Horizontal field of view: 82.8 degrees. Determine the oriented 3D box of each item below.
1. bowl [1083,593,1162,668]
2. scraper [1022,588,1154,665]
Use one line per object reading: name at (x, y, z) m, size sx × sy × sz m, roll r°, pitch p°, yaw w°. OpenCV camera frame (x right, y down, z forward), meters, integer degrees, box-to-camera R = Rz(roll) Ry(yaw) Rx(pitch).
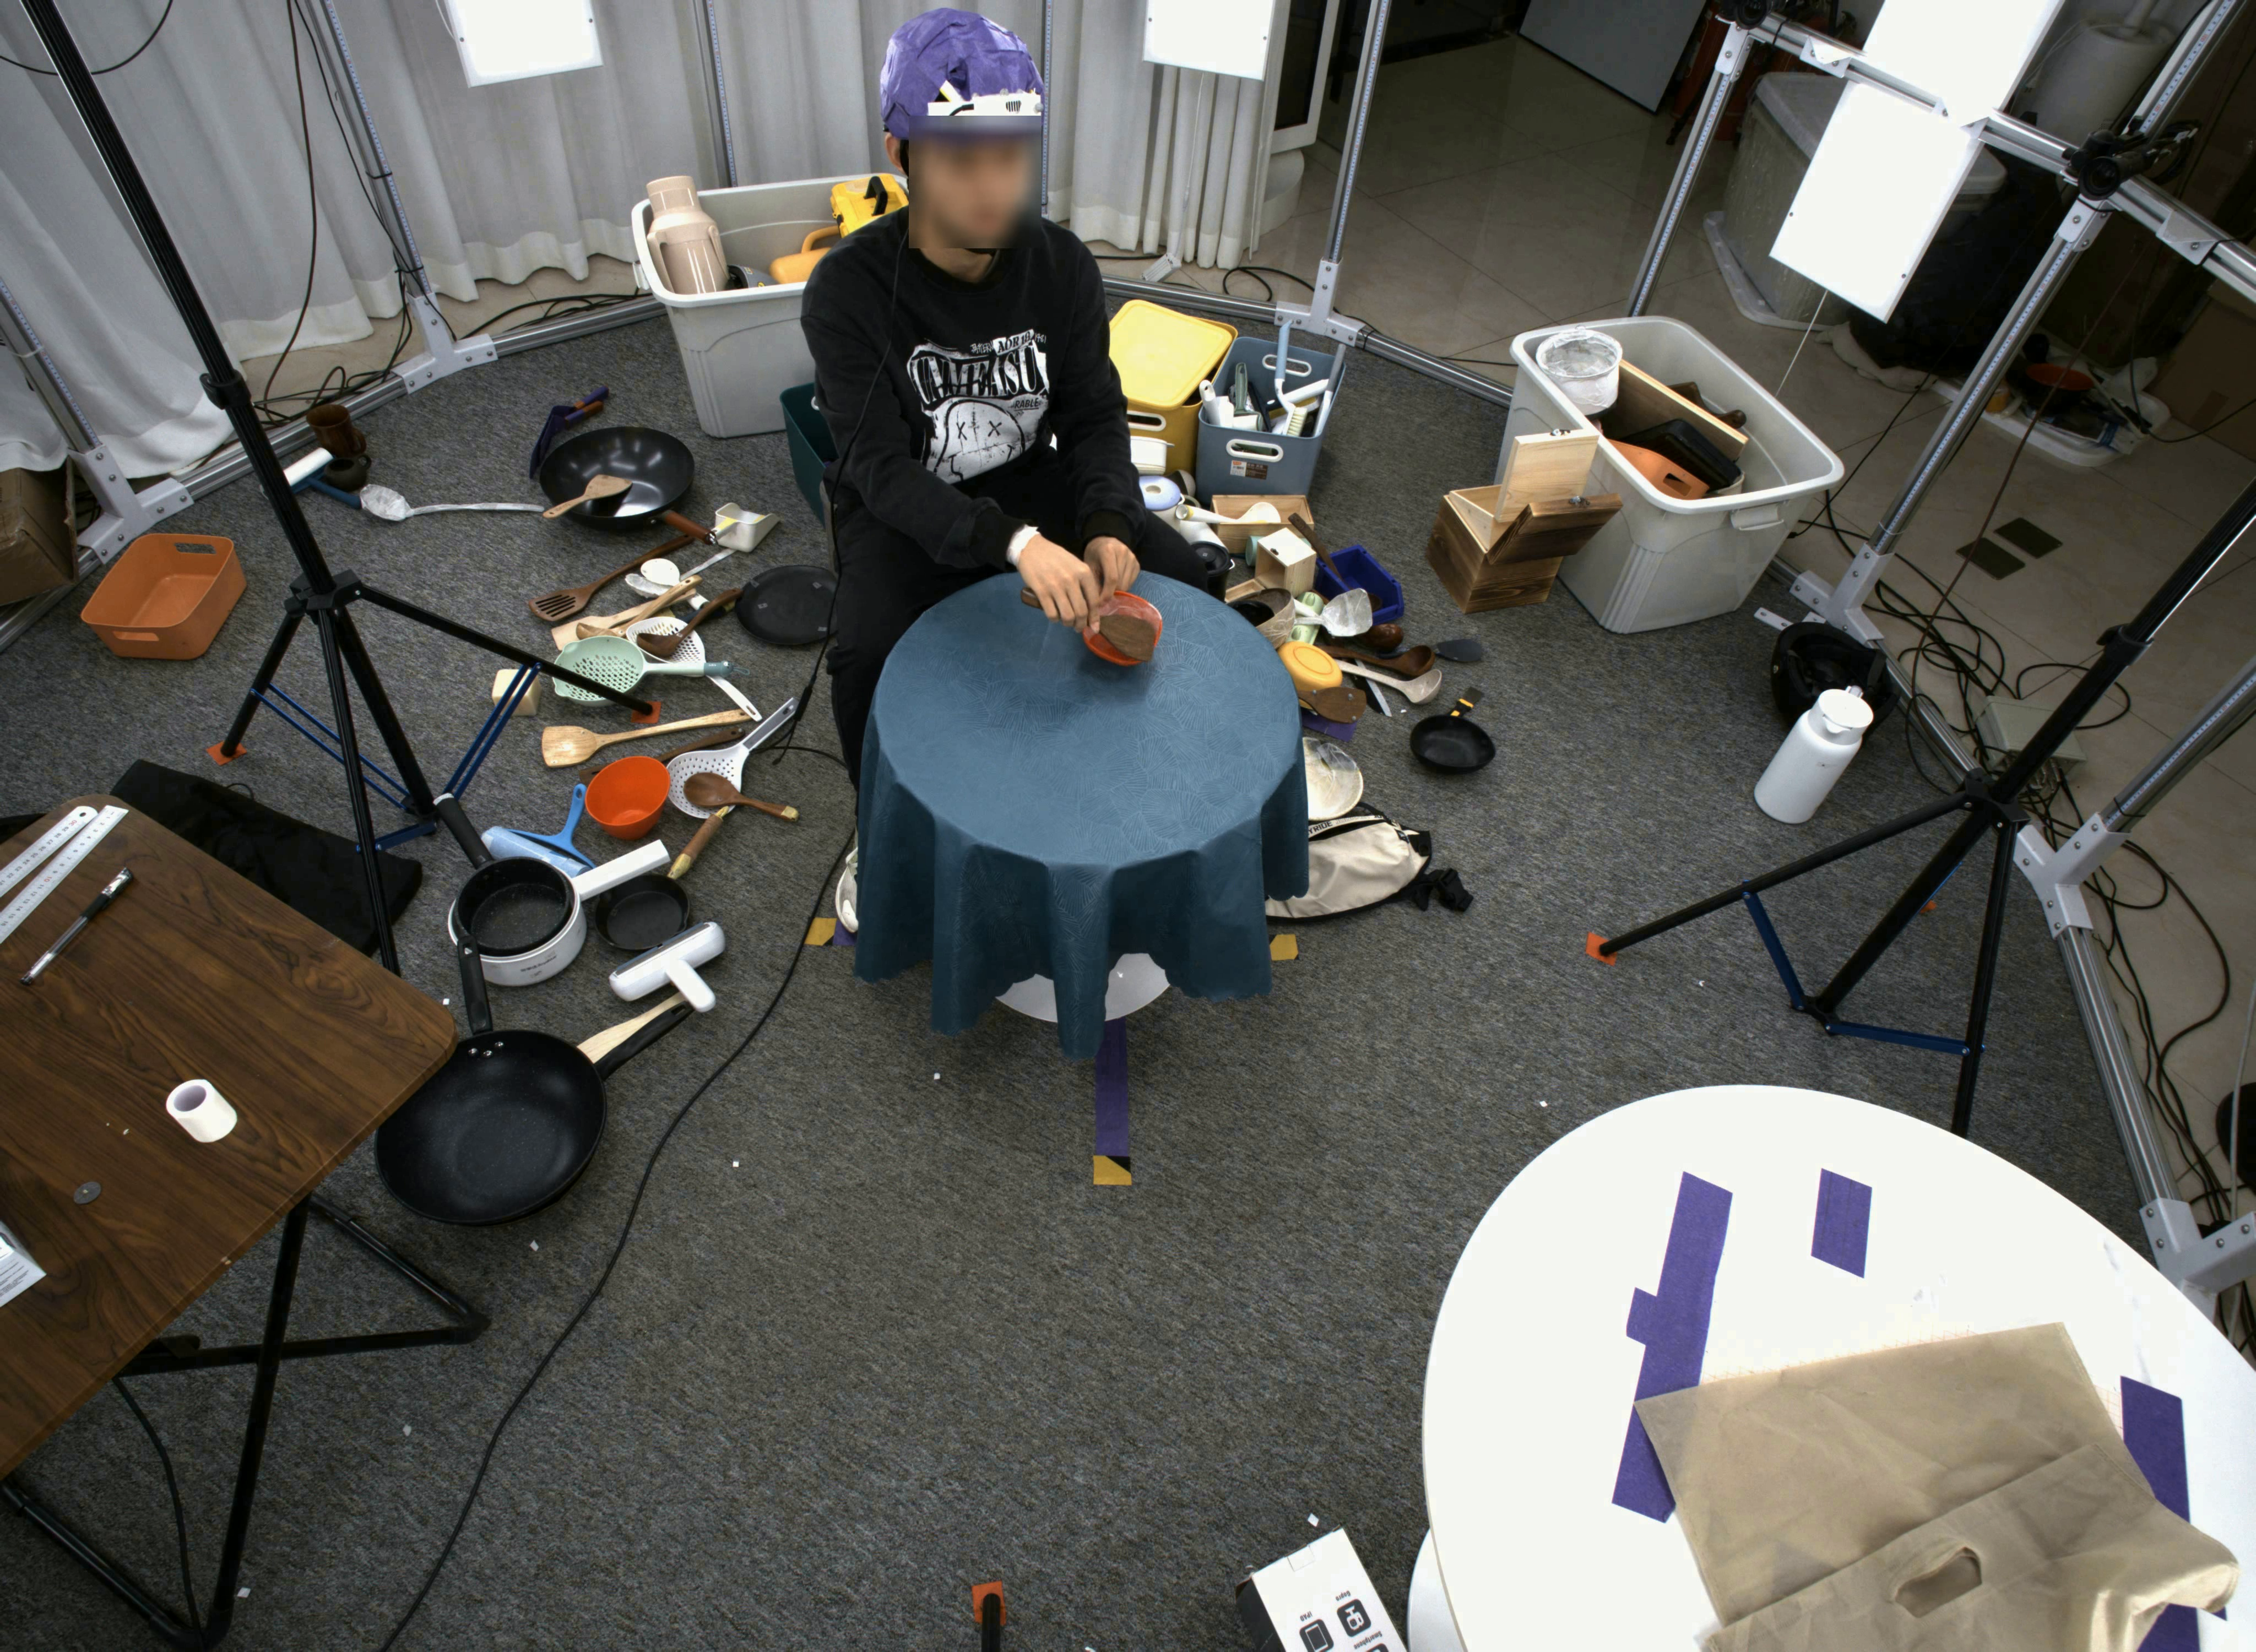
bowl at (-0.011, -0.278, 1.880) m, size 0.118 × 0.050 × 0.121 m, roll 3°, pitch 69°, yaw -7°
scraper at (-0.055, -0.288, 1.810) m, size 0.209 × 0.010 × 0.077 m, roll 19°, pitch 56°, yaw -25°
